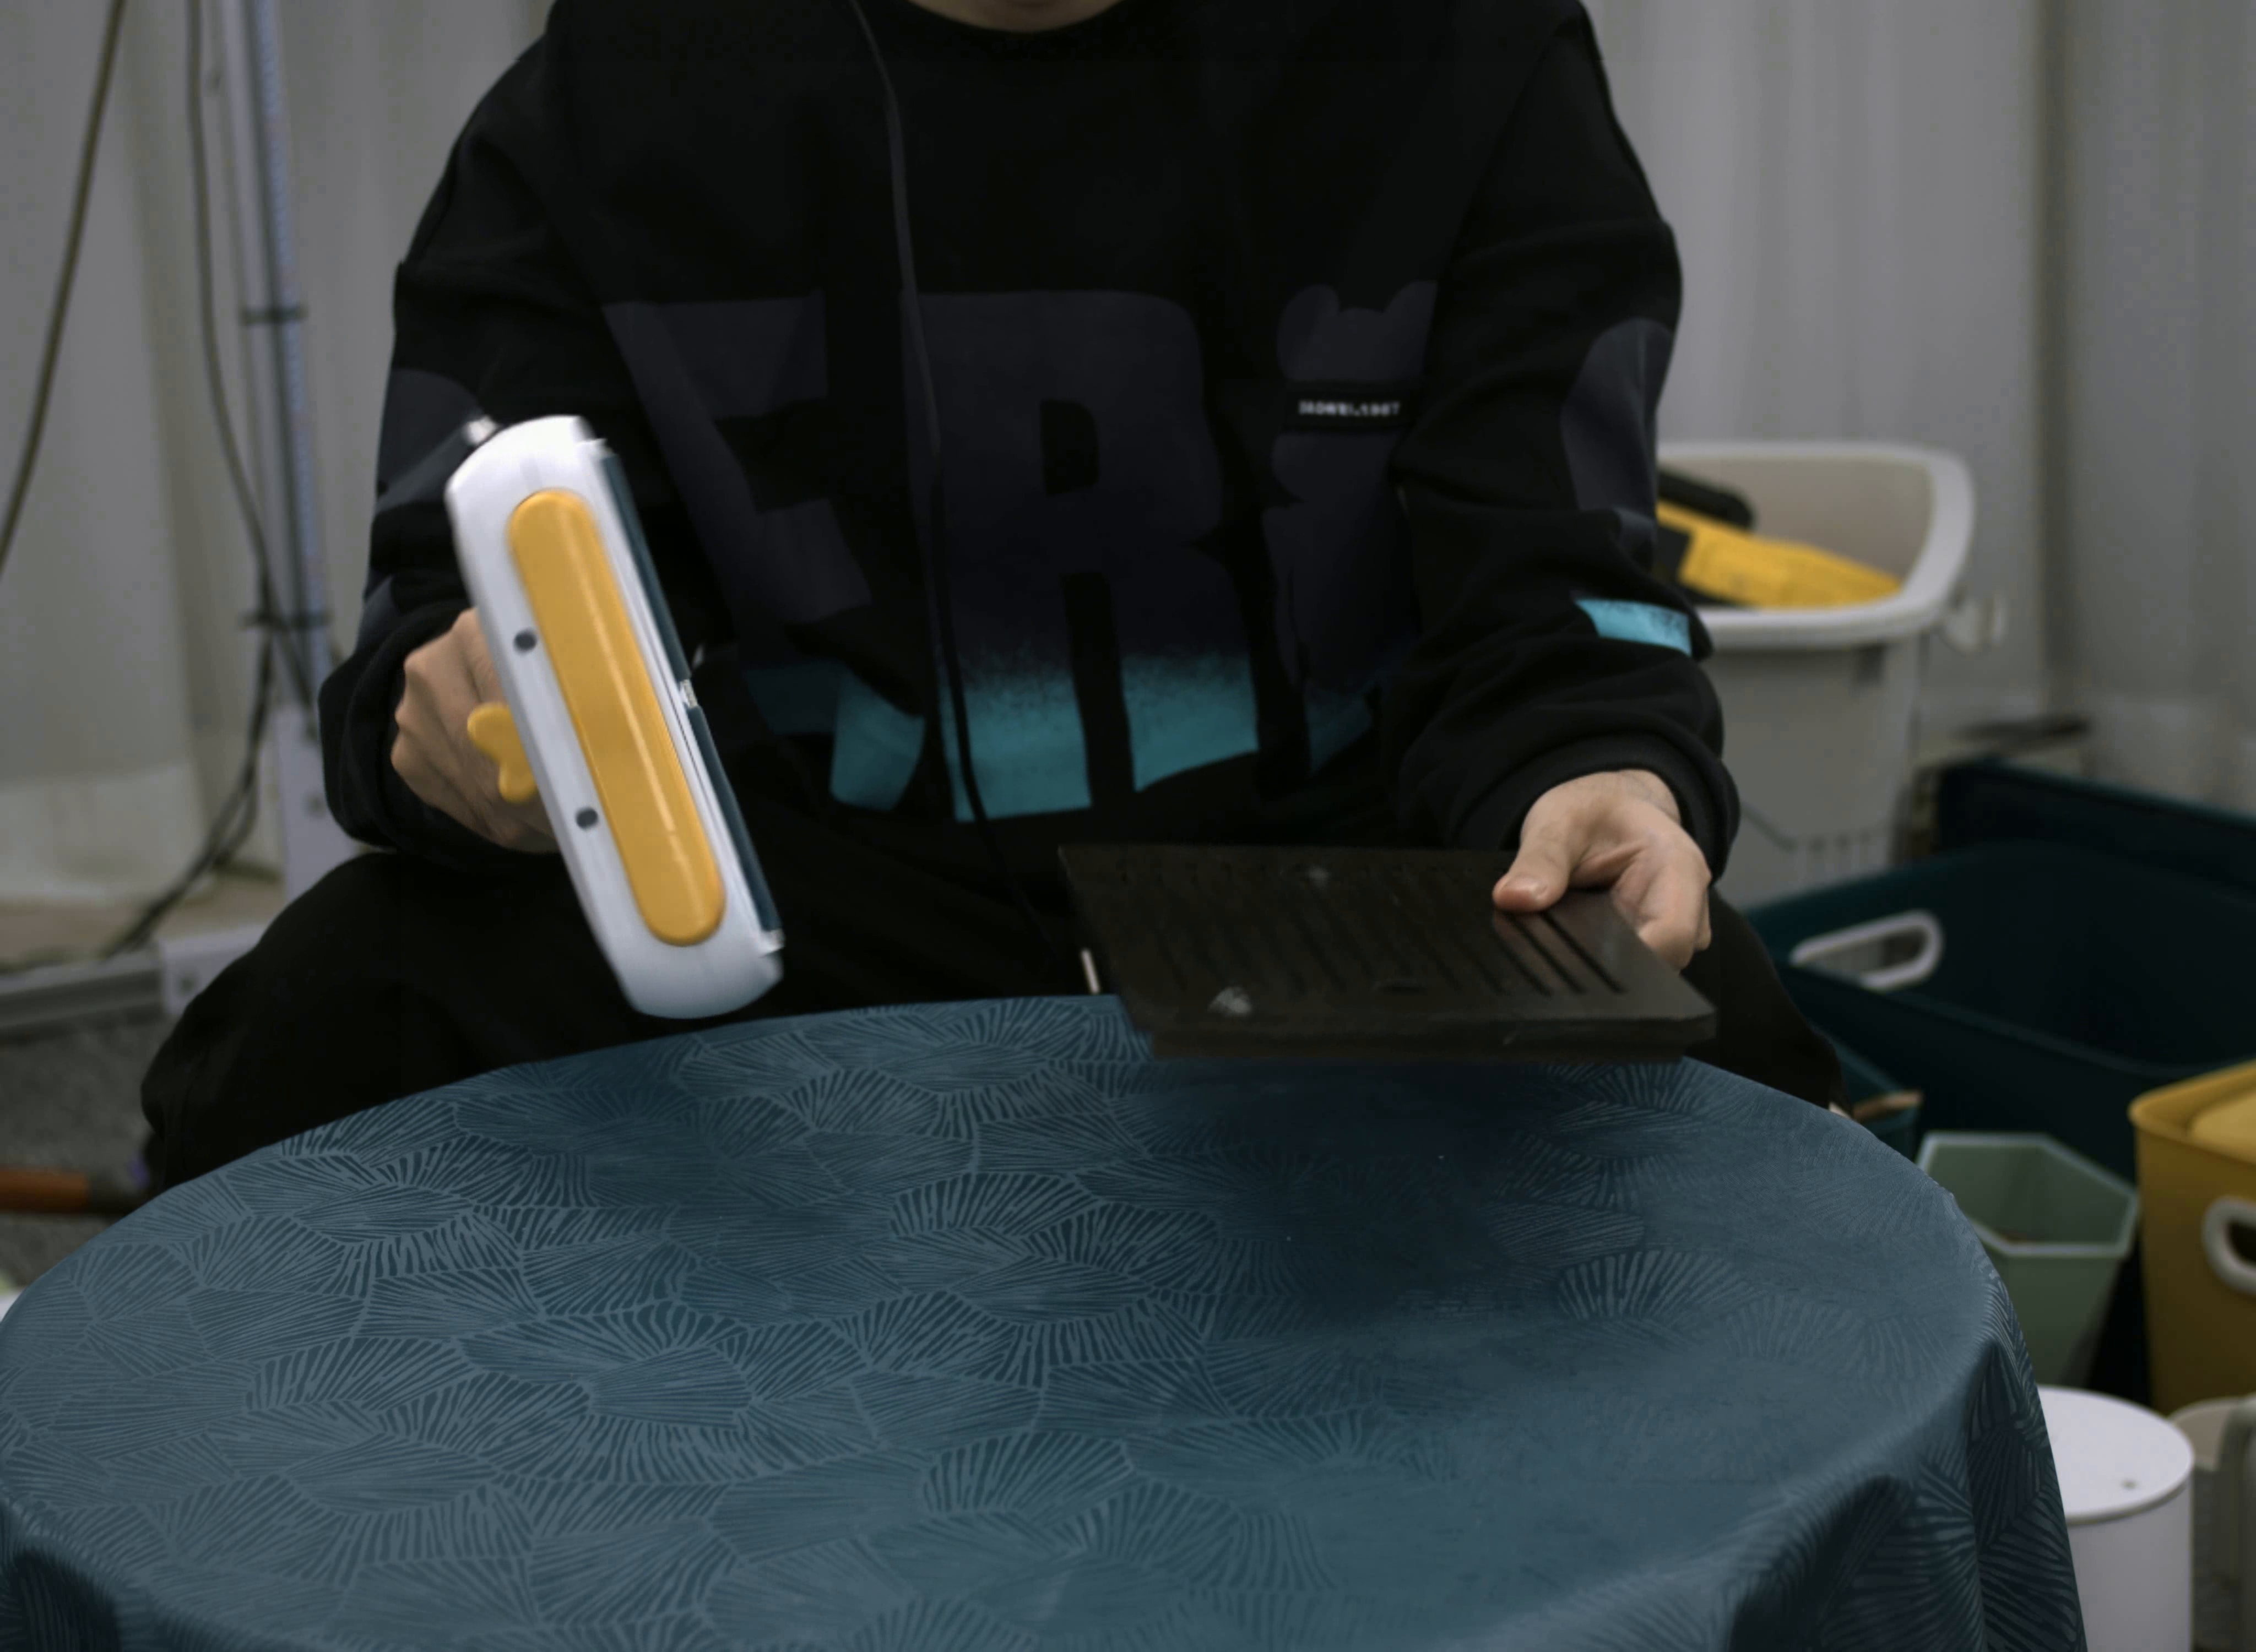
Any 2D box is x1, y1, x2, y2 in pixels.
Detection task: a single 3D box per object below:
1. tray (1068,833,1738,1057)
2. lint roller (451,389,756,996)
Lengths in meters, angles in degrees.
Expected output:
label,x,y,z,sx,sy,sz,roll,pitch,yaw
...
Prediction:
label,x,y,z,sx,sy,sz,roll,pitch,yaw
tray,0.077,0.036,1.700,0.169,0.018,0.307,2,8,-6
lint roller,-0.174,-0.033,1.756,0.074,0.194,0.192,-20,-4,-8
